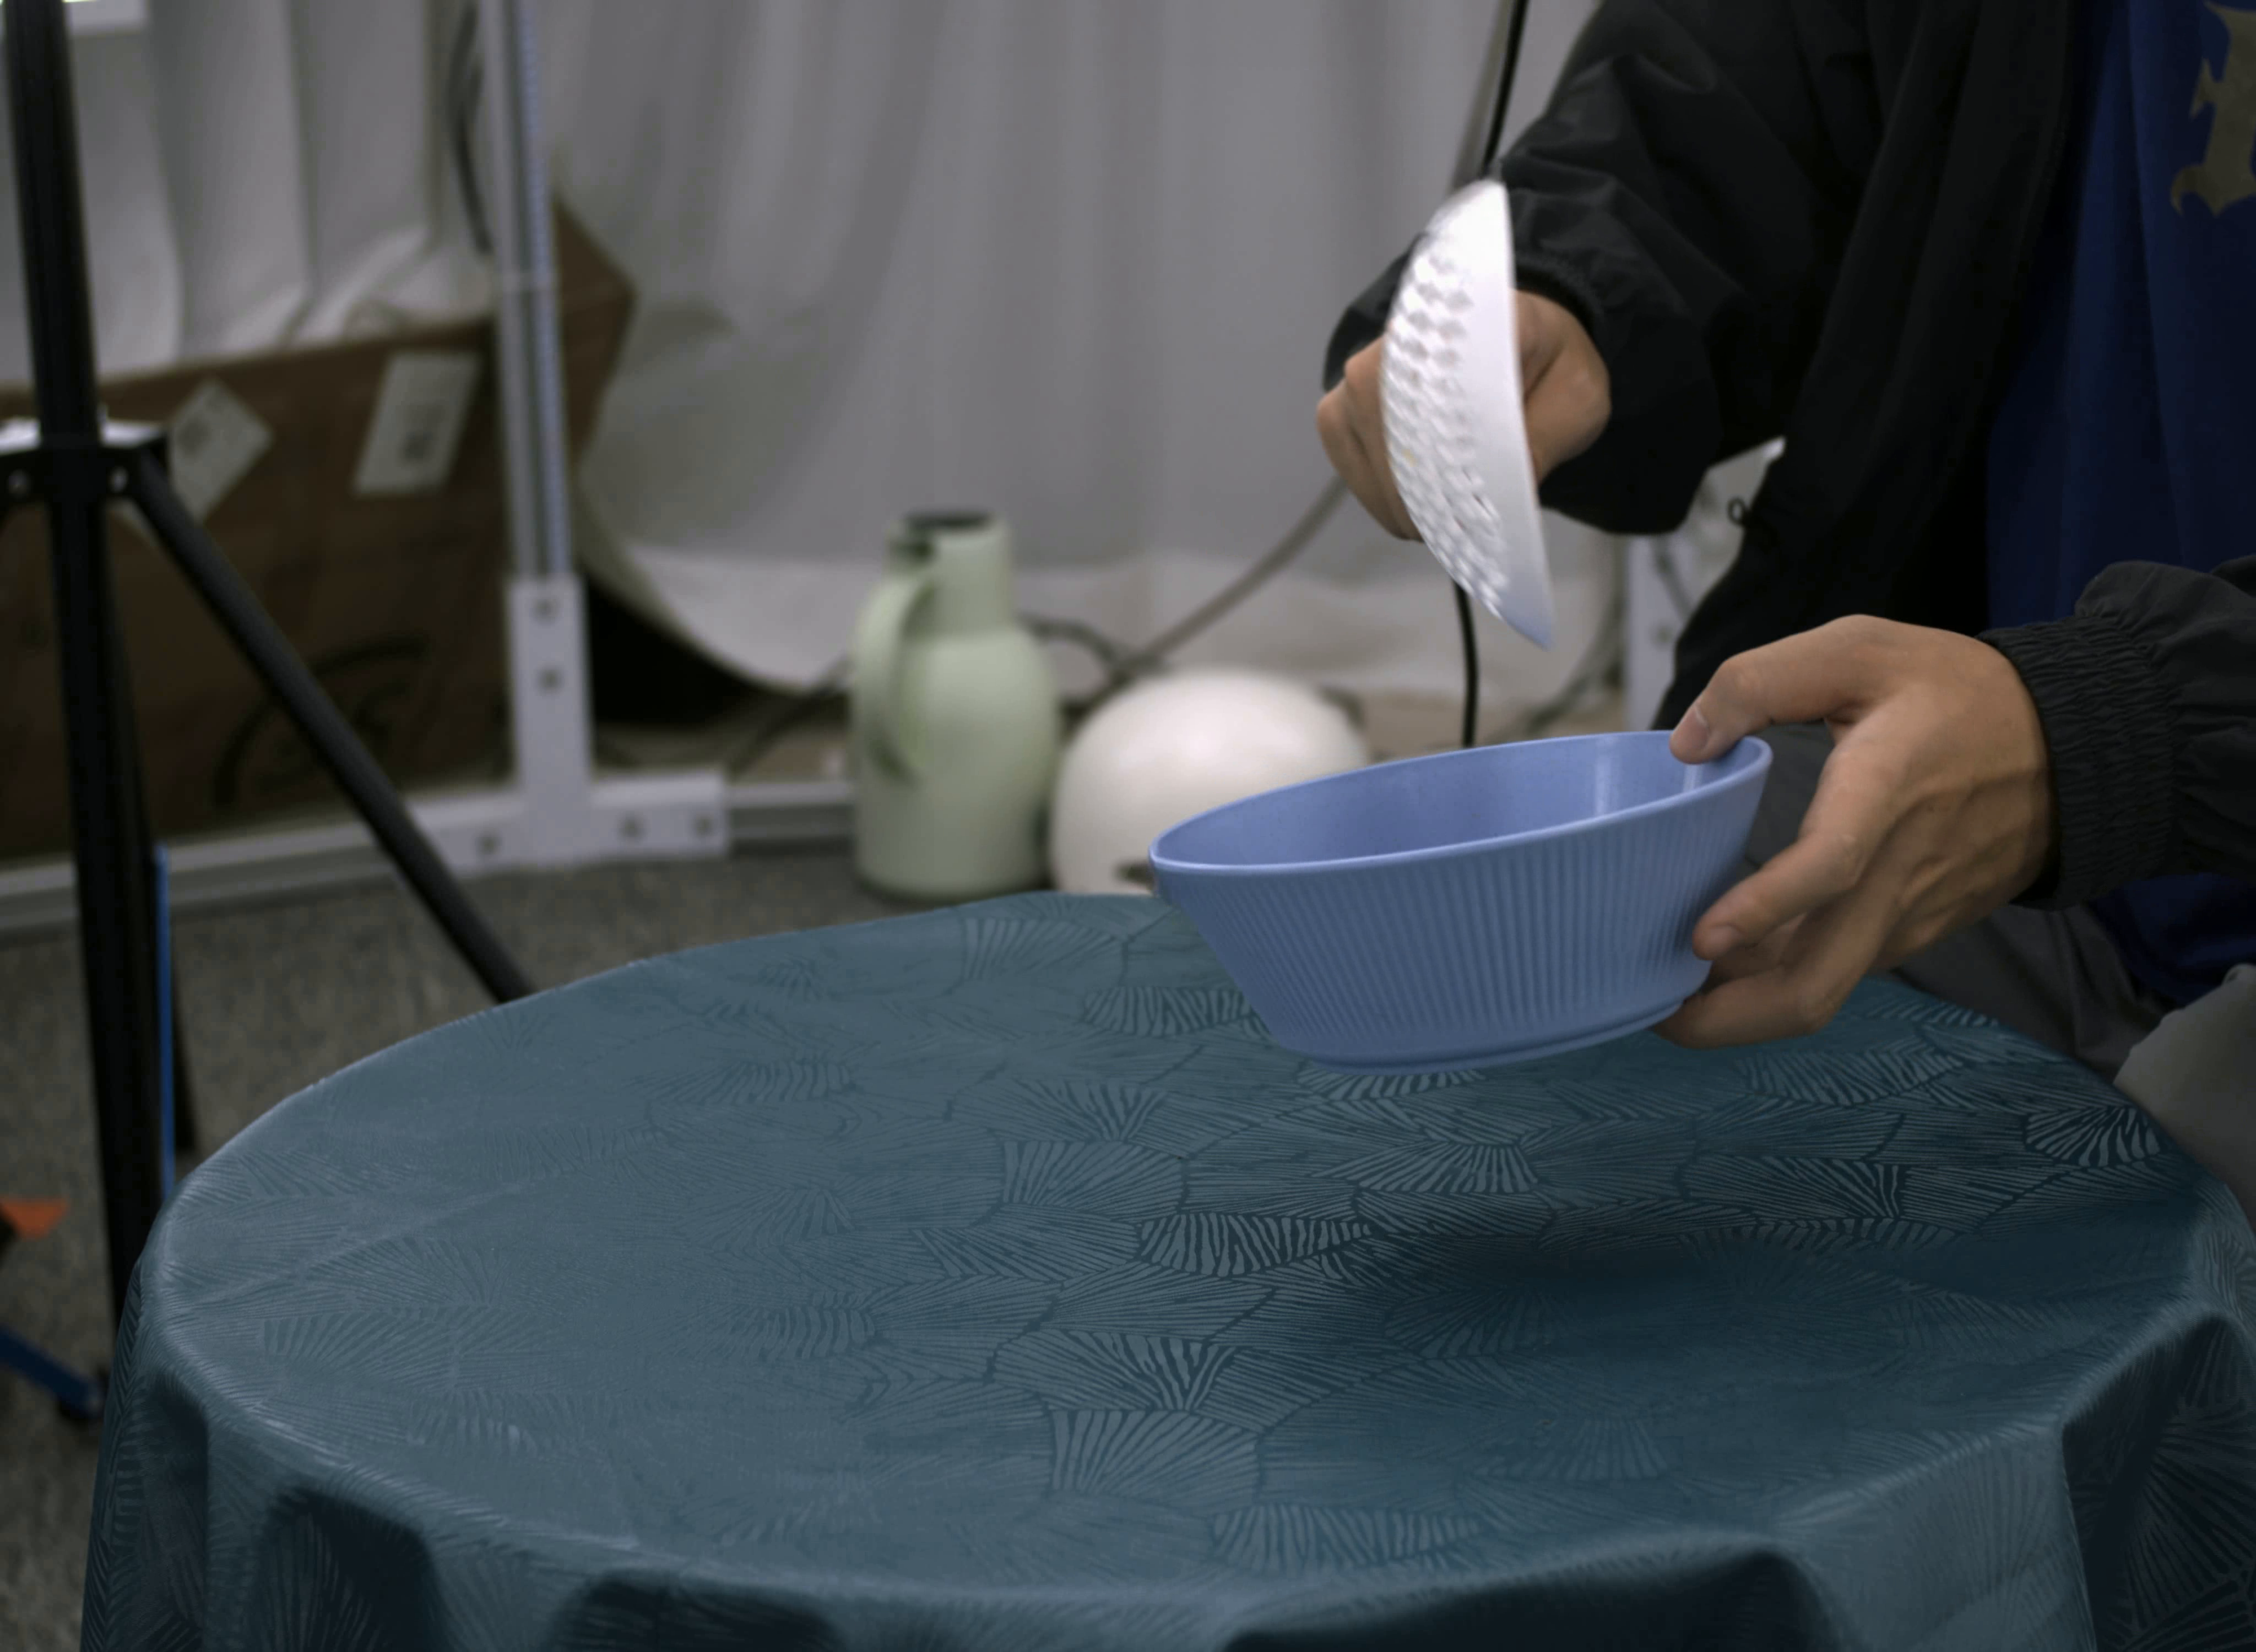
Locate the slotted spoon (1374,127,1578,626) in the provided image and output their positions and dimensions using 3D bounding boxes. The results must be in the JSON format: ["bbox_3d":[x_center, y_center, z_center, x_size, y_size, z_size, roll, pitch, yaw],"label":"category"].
[{"bbox_3d":[0.097,-0.121,1.571,0.050,0.137,0.346,-10,0,5],"label":"slotted spoon"}]

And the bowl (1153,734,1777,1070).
[{"bbox_3d":[0.098,0.023,1.480,0.175,0.070,0.176,-9,8,0],"label":"bowl"}]
